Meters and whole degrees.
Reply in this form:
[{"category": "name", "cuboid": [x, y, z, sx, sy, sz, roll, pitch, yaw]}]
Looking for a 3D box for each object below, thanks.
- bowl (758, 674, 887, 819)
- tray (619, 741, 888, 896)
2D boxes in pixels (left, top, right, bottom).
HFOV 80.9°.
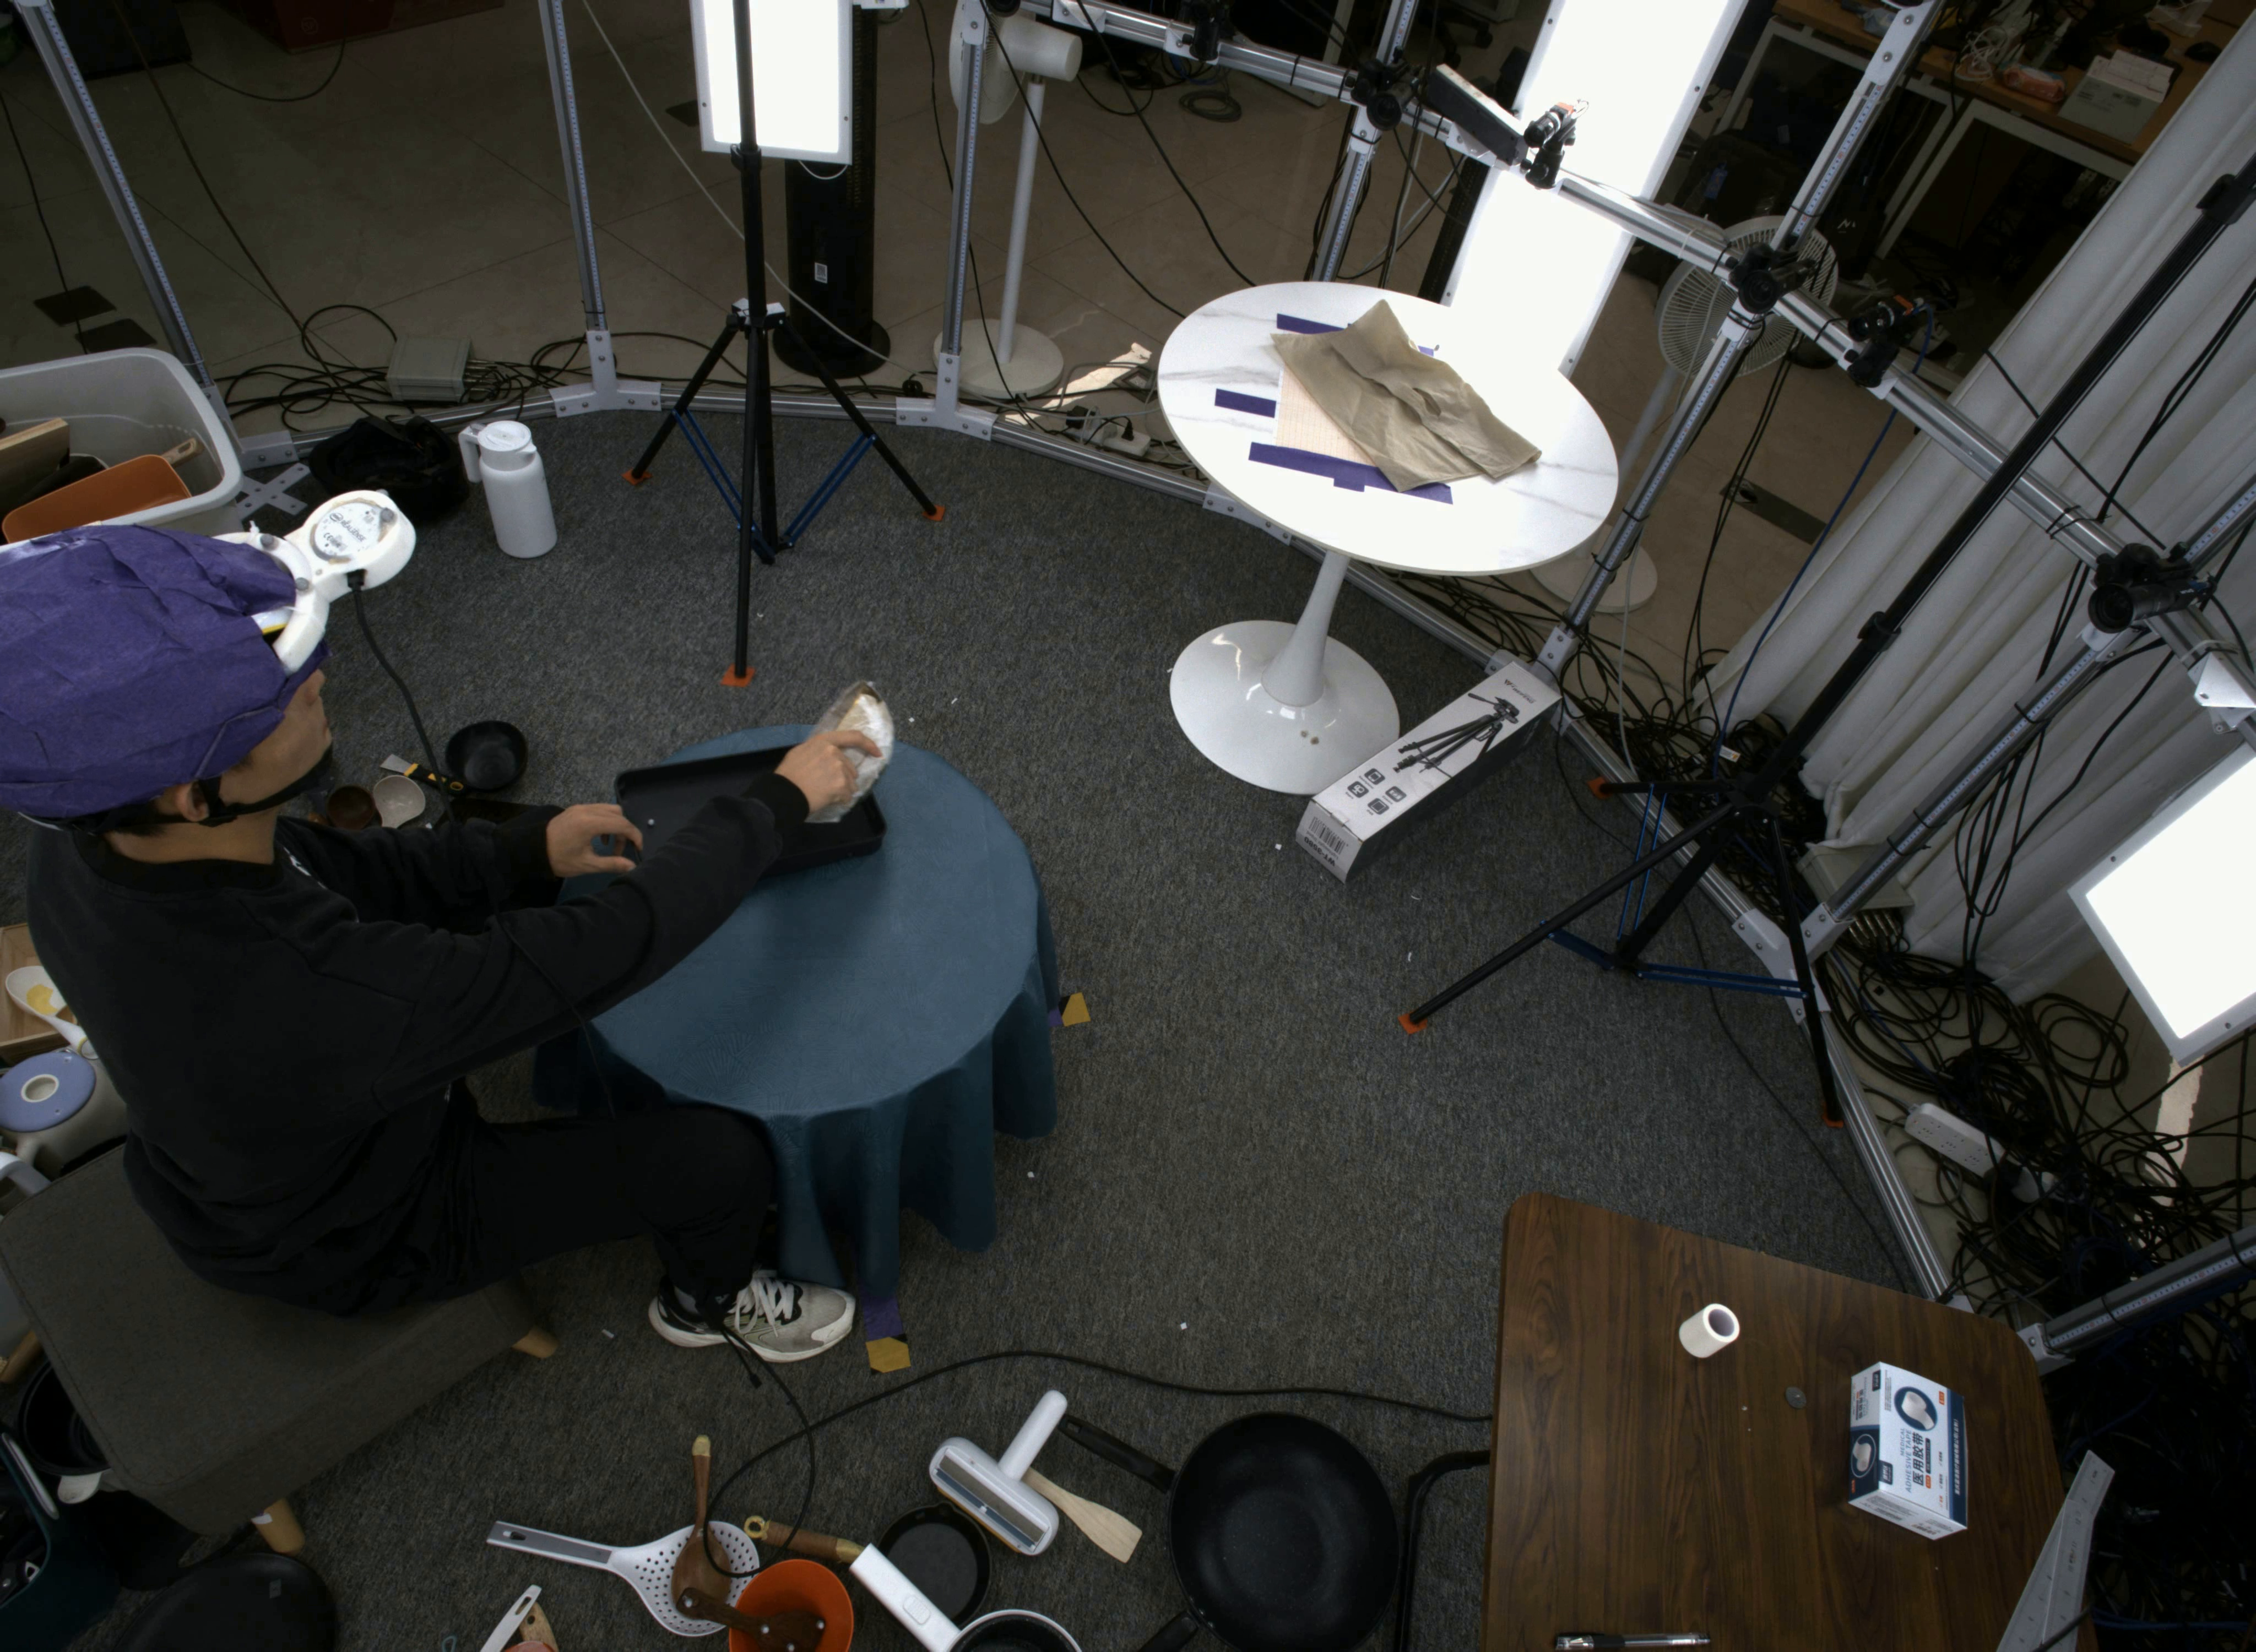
[{"category": "bowl", "cuboid": [-0.373, -0.081, 1.648, 0.097, 0.212, 0.212, 39, 48, -20]}, {"category": "tray", "cuboid": [-0.488, -0.019, 1.682, 0.321, 0.037, 0.180, -11, 59, -28]}]
